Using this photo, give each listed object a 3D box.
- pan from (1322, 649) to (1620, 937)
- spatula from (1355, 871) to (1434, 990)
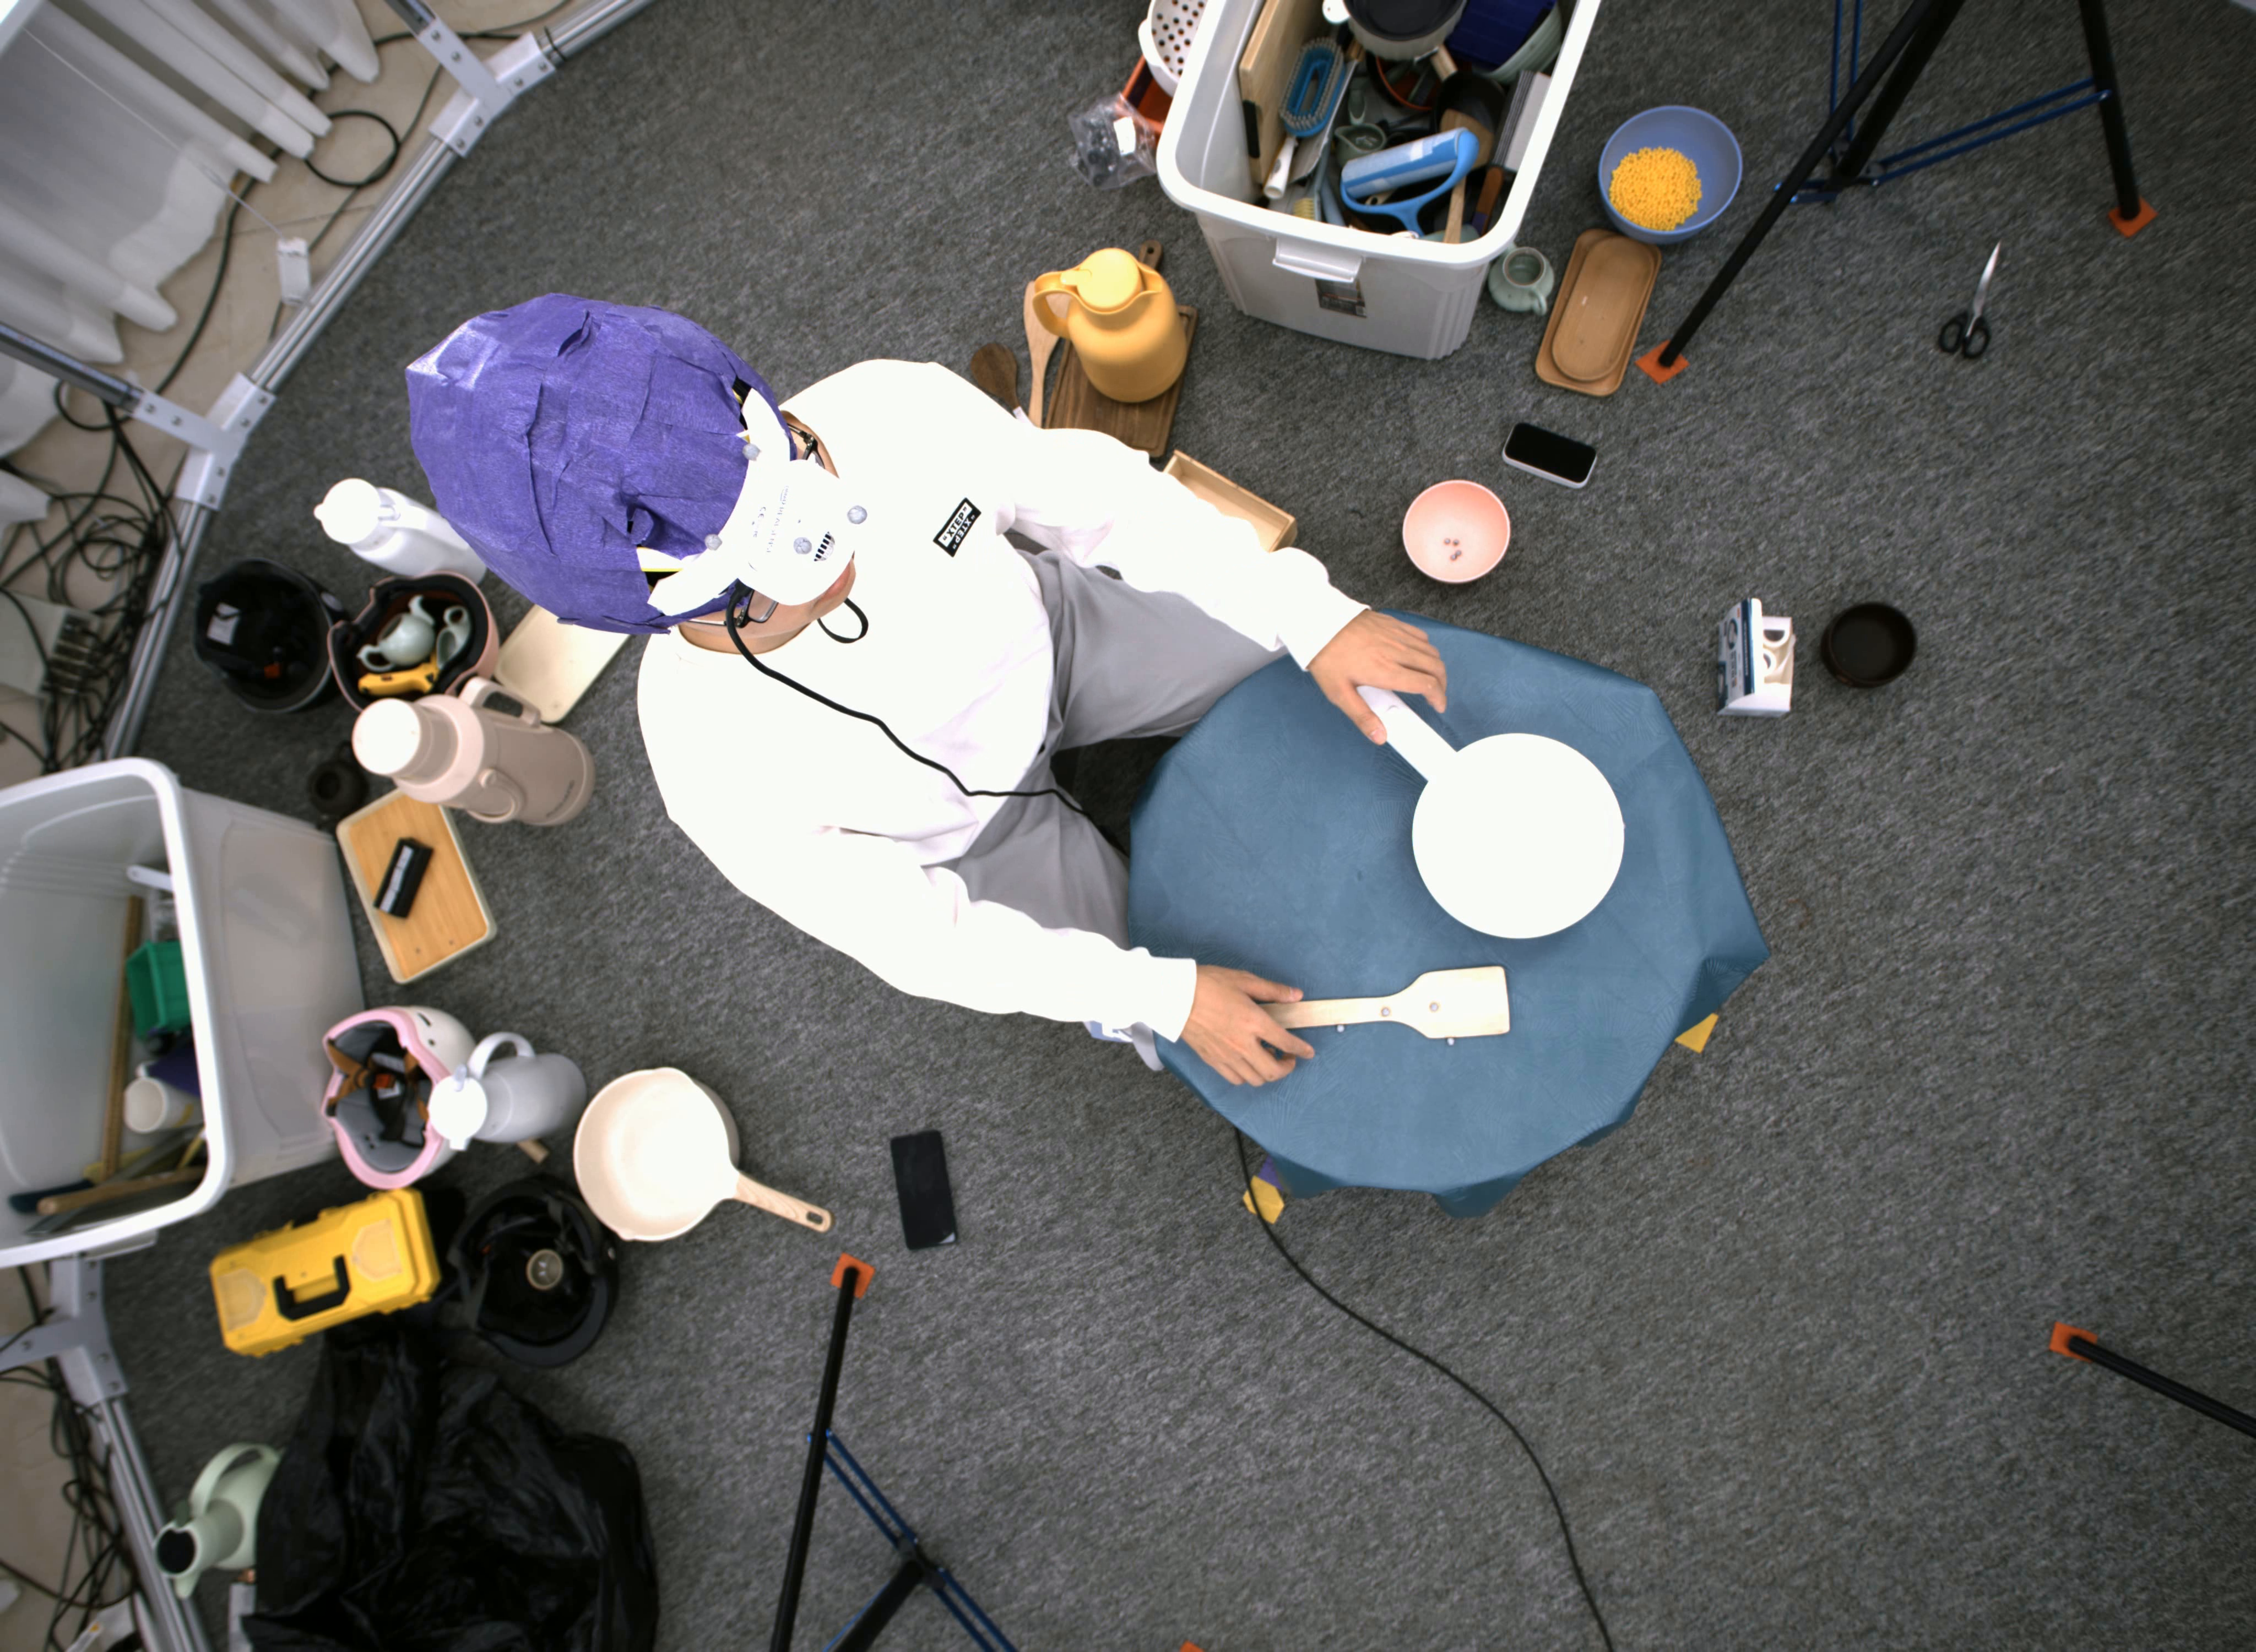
[{"bbox_3d":[0.339,-0.042,1.412,0.203,0.102,0.352,-46,77,9],"label":"pan"},{"bbox_3d":[0.420,0.091,1.986,0.072,0.010,0.293,28,92,13],"label":"spatula"}]
